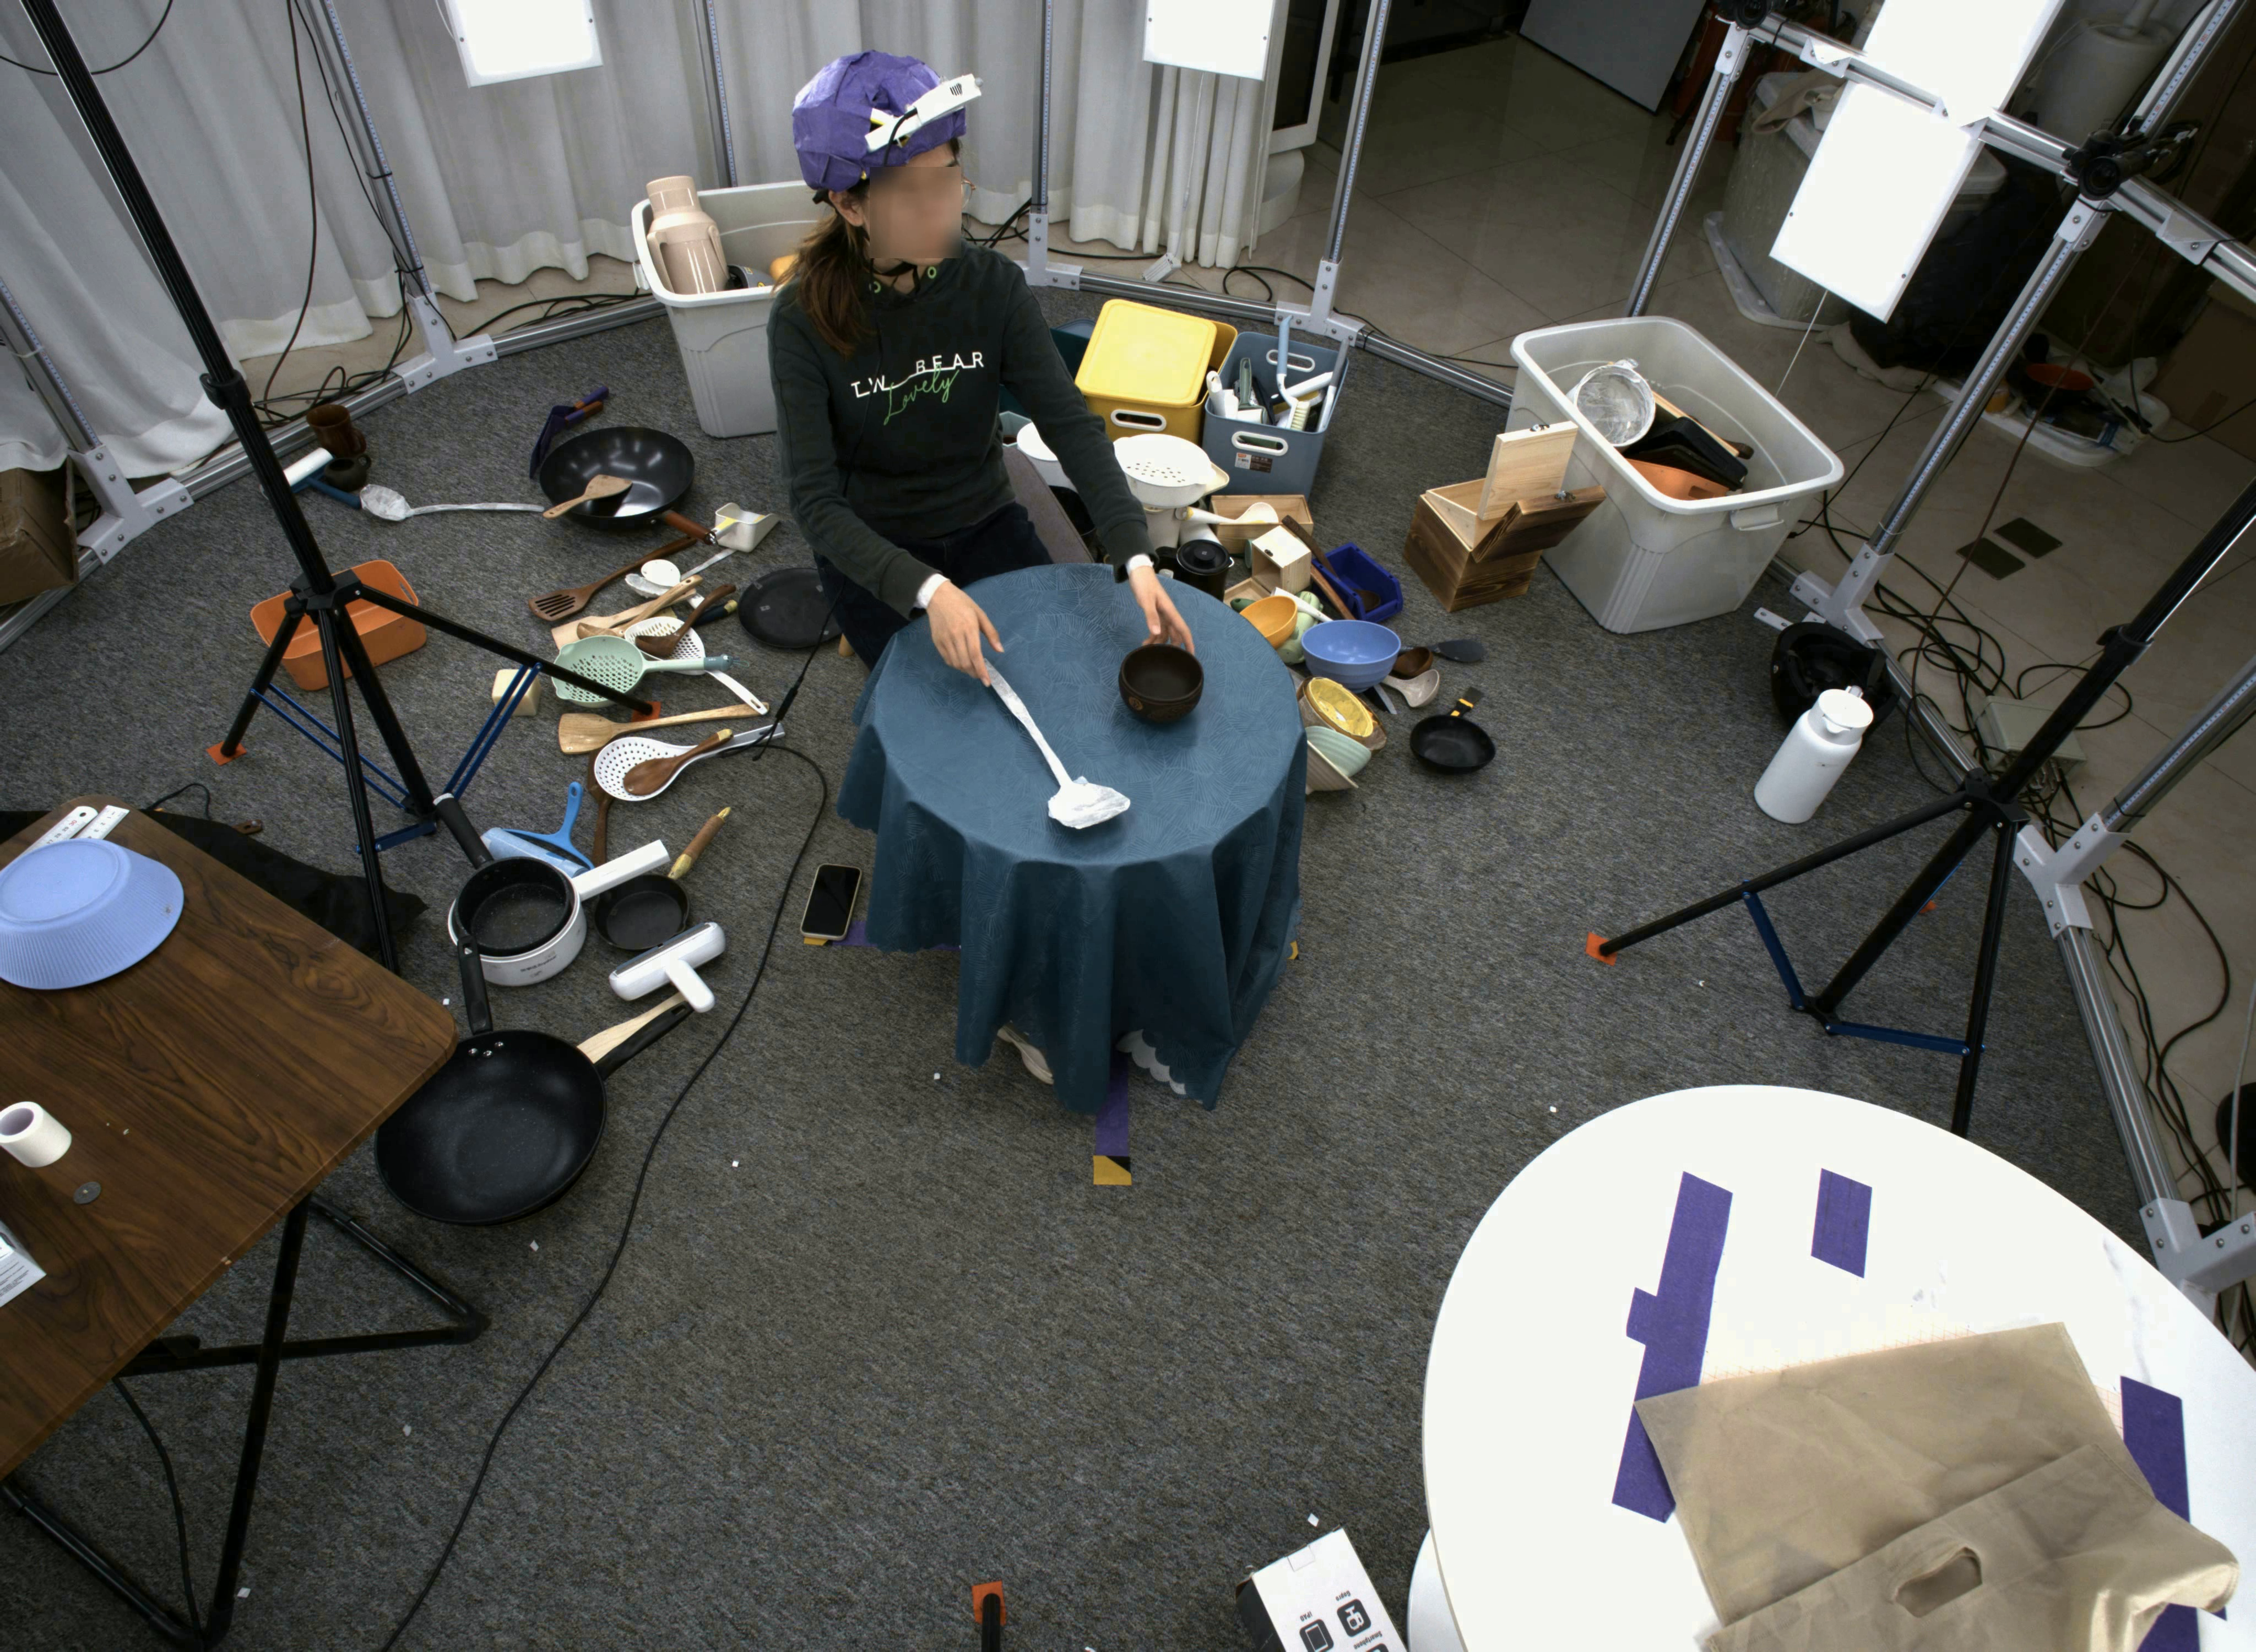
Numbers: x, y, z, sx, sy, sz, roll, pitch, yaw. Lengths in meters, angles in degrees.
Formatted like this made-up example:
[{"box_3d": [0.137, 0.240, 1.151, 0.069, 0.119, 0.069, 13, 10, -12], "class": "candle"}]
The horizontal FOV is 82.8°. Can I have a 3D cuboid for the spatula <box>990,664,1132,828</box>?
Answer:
[{"box_3d": [-0.115, -0.120, 1.756, 0.099, 0.043, 0.373, -21, 53, -18], "class": "spatula"}]

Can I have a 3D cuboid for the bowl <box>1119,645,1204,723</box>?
[{"box_3d": [0.046, -0.192, 1.808, 0.118, 0.068, 0.121, 3, 47, -3], "class": "bowl"}]
